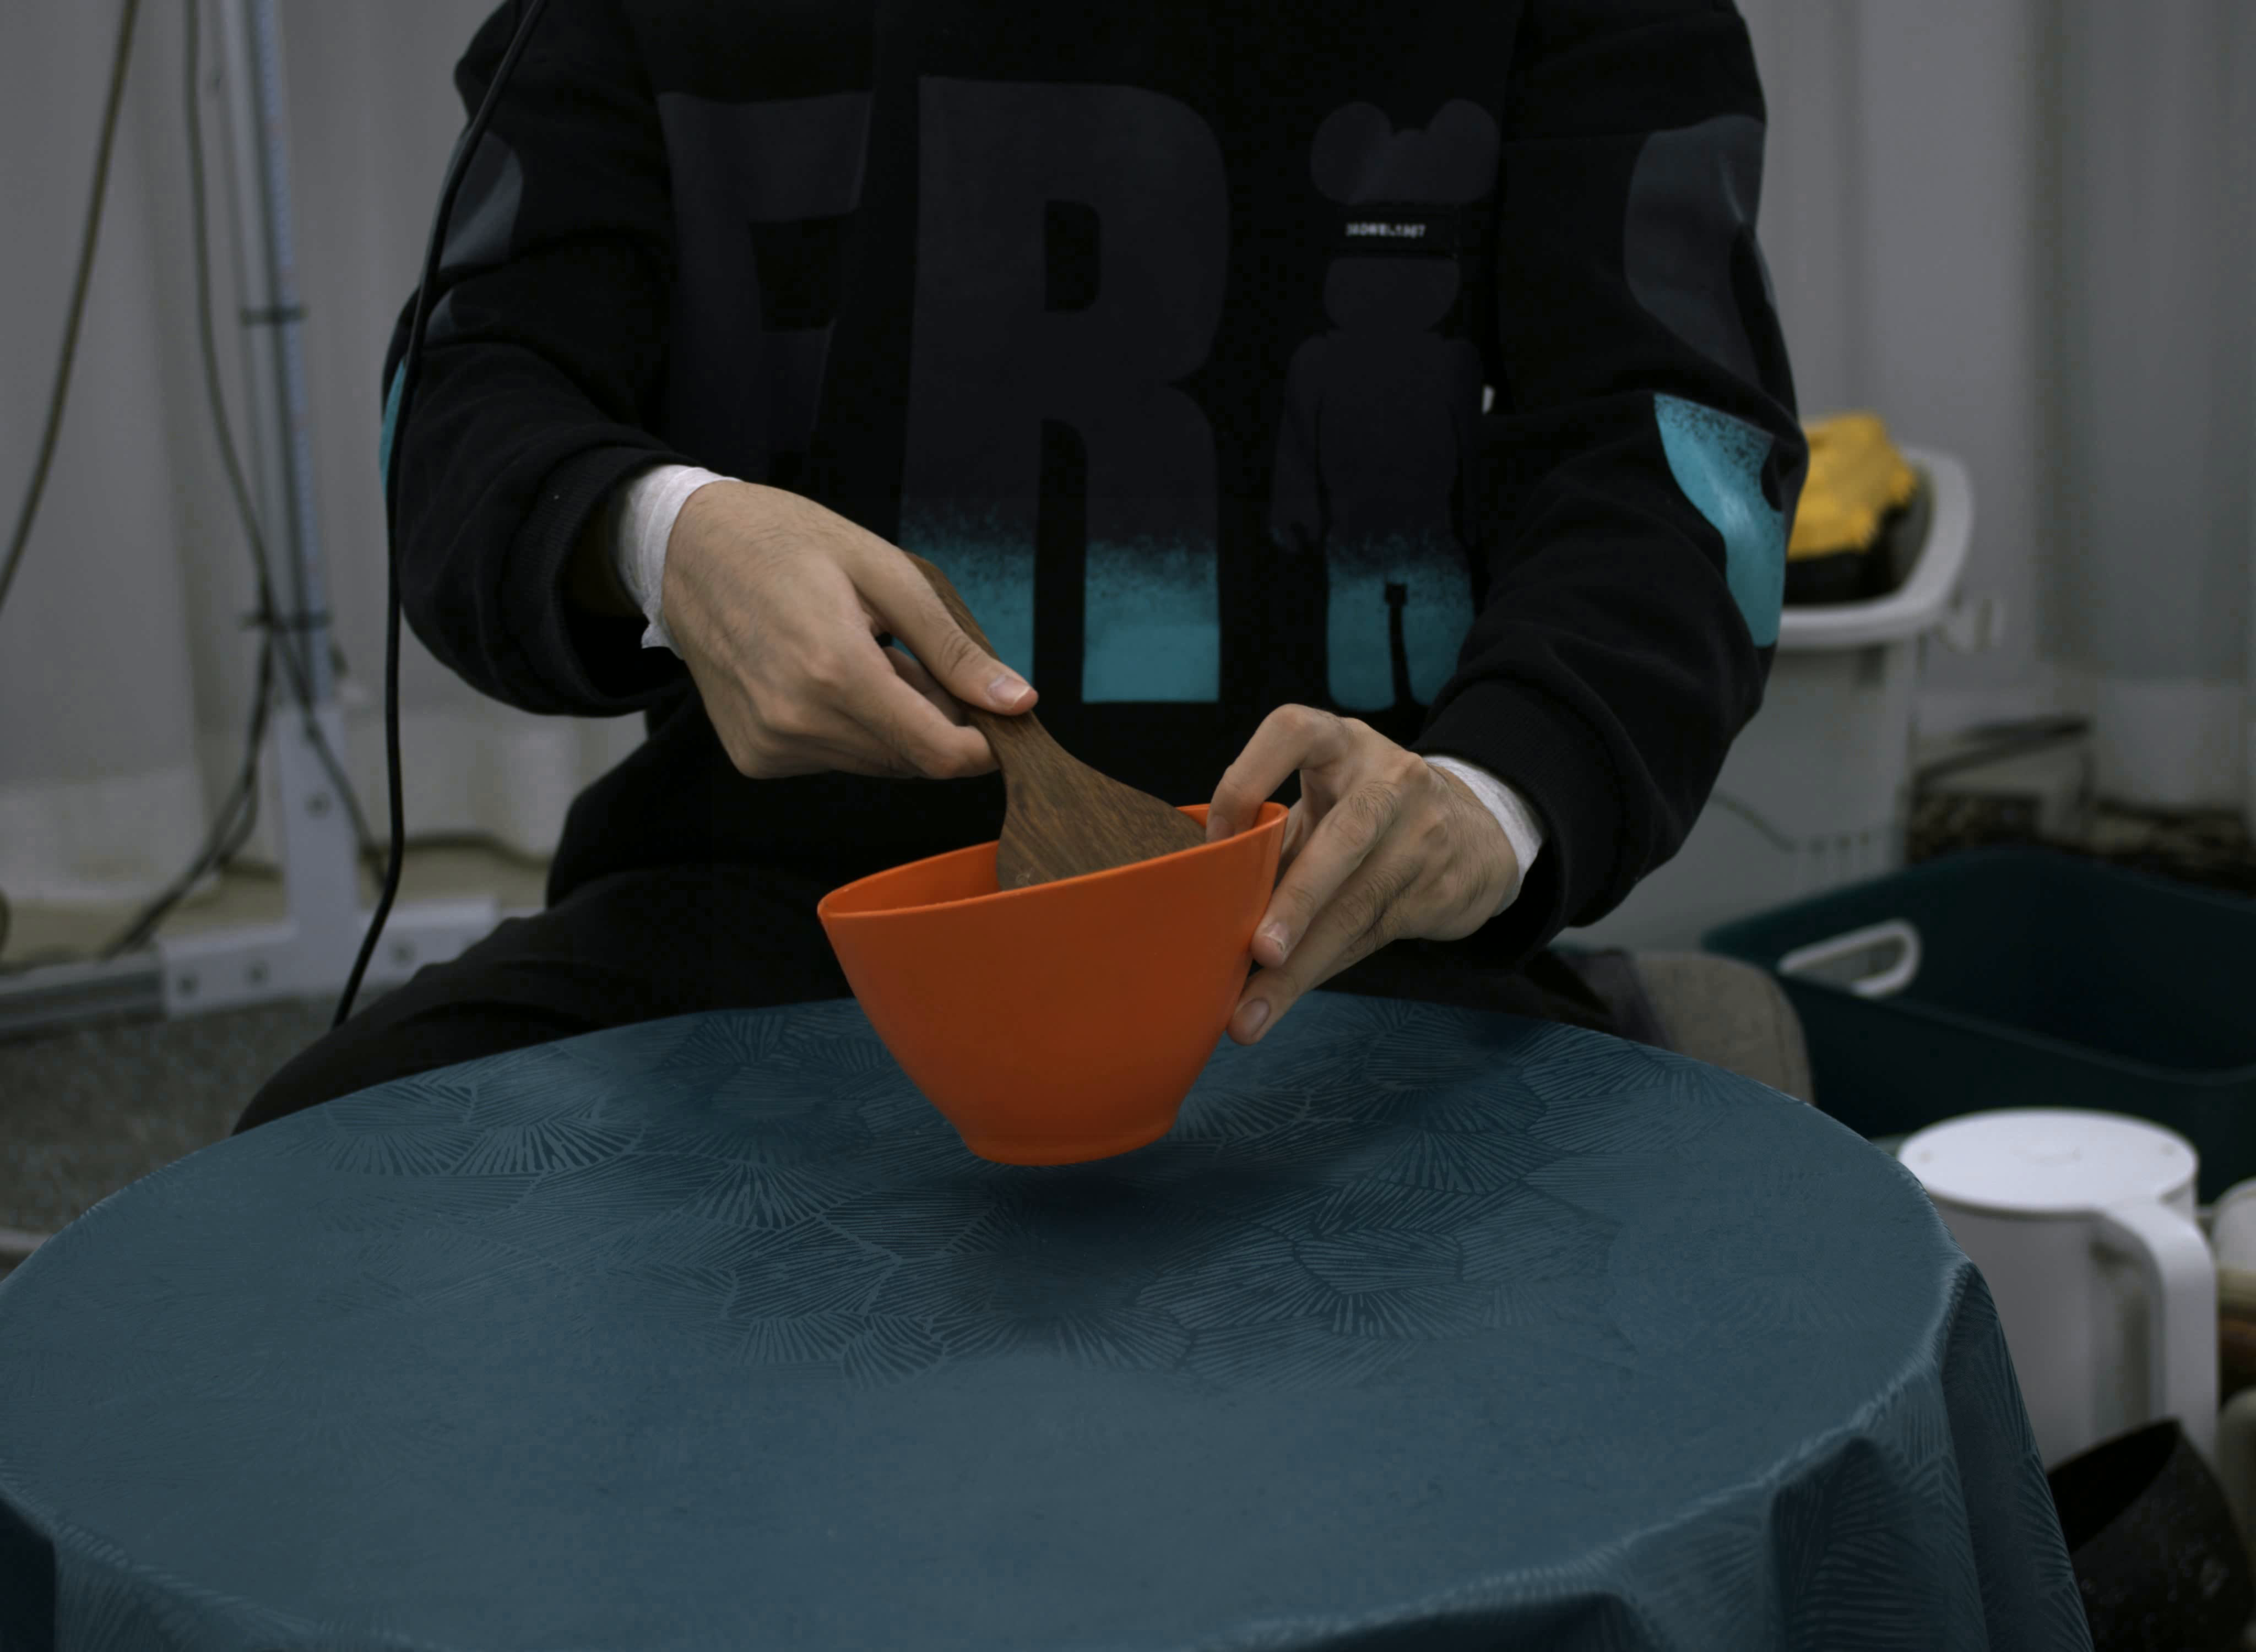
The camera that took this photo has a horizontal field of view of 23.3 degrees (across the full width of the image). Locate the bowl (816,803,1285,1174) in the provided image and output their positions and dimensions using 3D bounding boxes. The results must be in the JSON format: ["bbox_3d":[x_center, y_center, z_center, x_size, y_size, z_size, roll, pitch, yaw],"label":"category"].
[{"bbox_3d":[-0.018,0.050,1.686,0.147,0.104,0.149,-8,14,2],"label":"bowl"}]

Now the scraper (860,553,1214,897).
[{"bbox_3d":[-0.035,-0.026,1.761,0.075,0.010,0.214,-16,42,-19],"label":"scraper"}]
